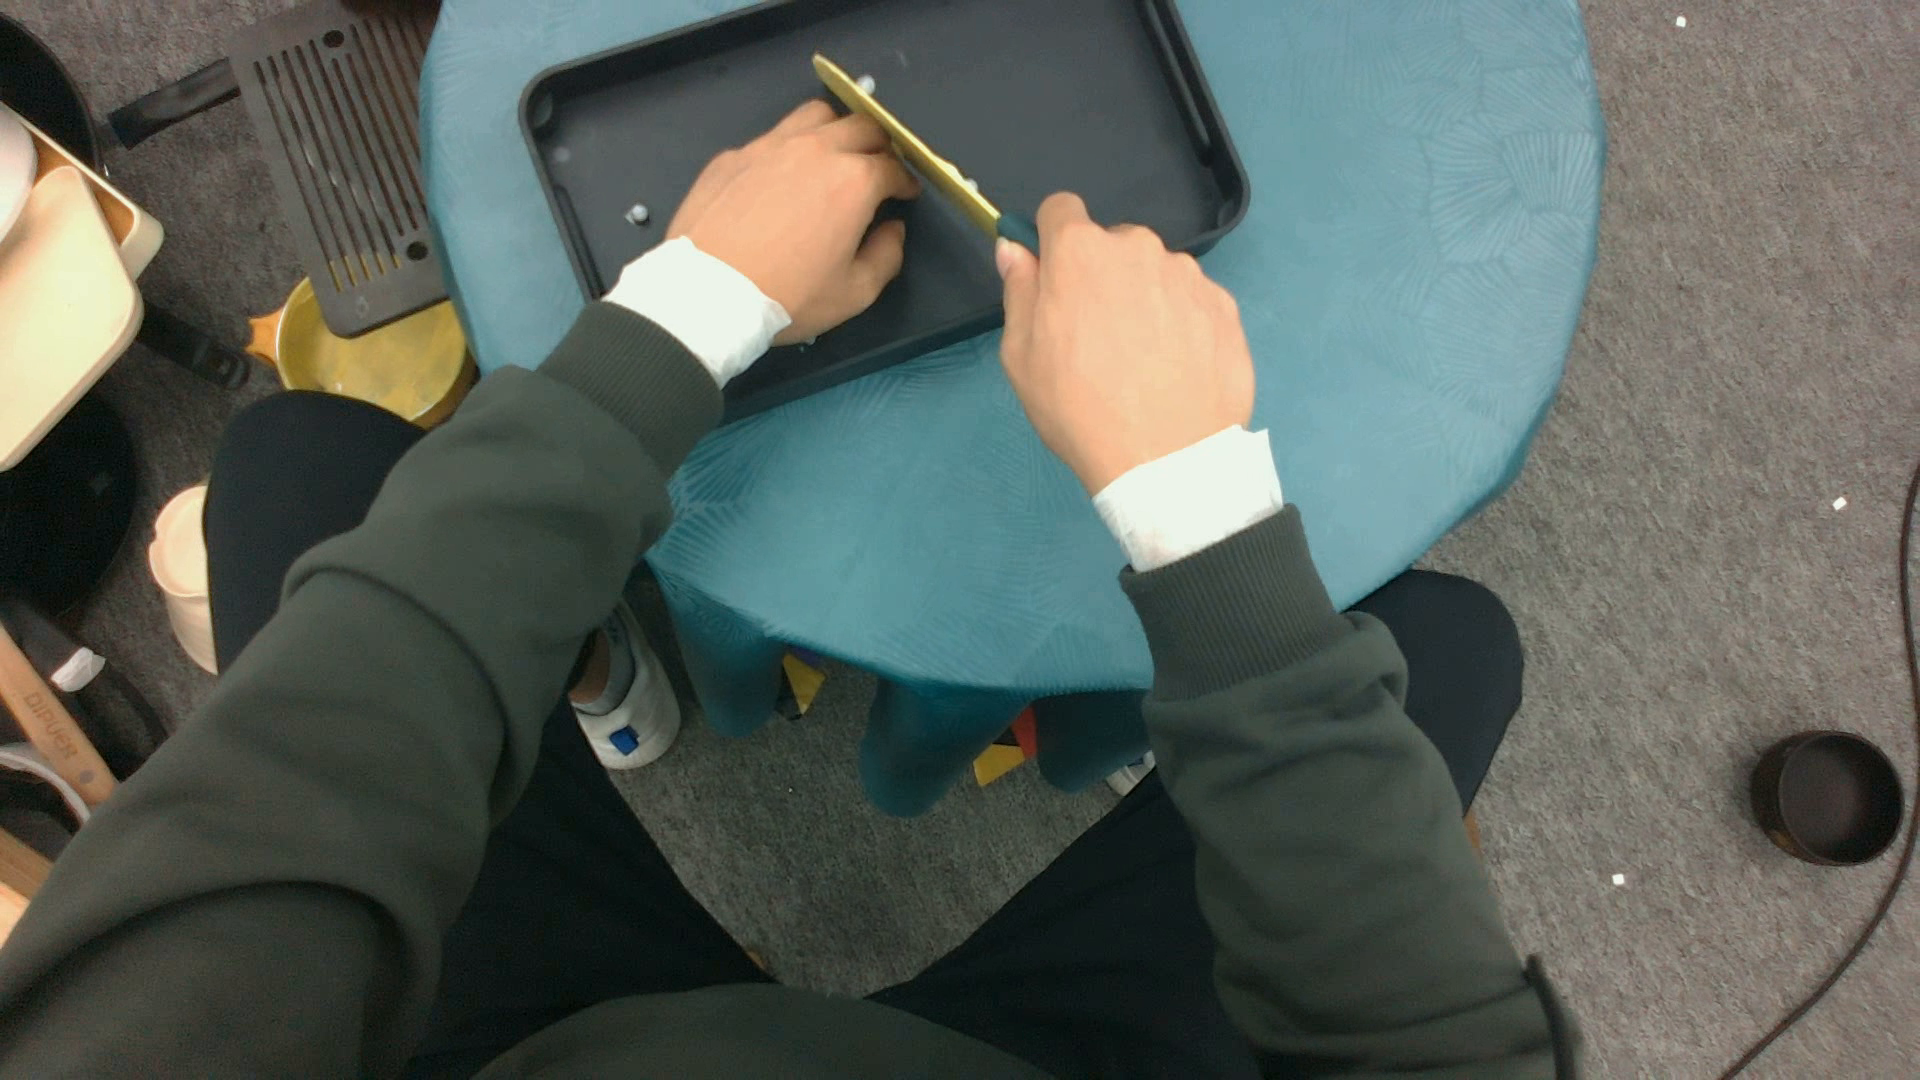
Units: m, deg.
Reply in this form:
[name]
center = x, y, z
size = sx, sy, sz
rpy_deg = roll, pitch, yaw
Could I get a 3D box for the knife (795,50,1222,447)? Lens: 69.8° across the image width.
[knife]
center = 0.012, -0.136, 0.608
size = 0.027, 0.081, 0.290
rpy_deg = -46, 65, 7

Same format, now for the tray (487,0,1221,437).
[tray]
center = -0.048, -0.185, 0.671
size = 0.318, 0.037, 0.184
rpy_deg = -23, 84, -9
